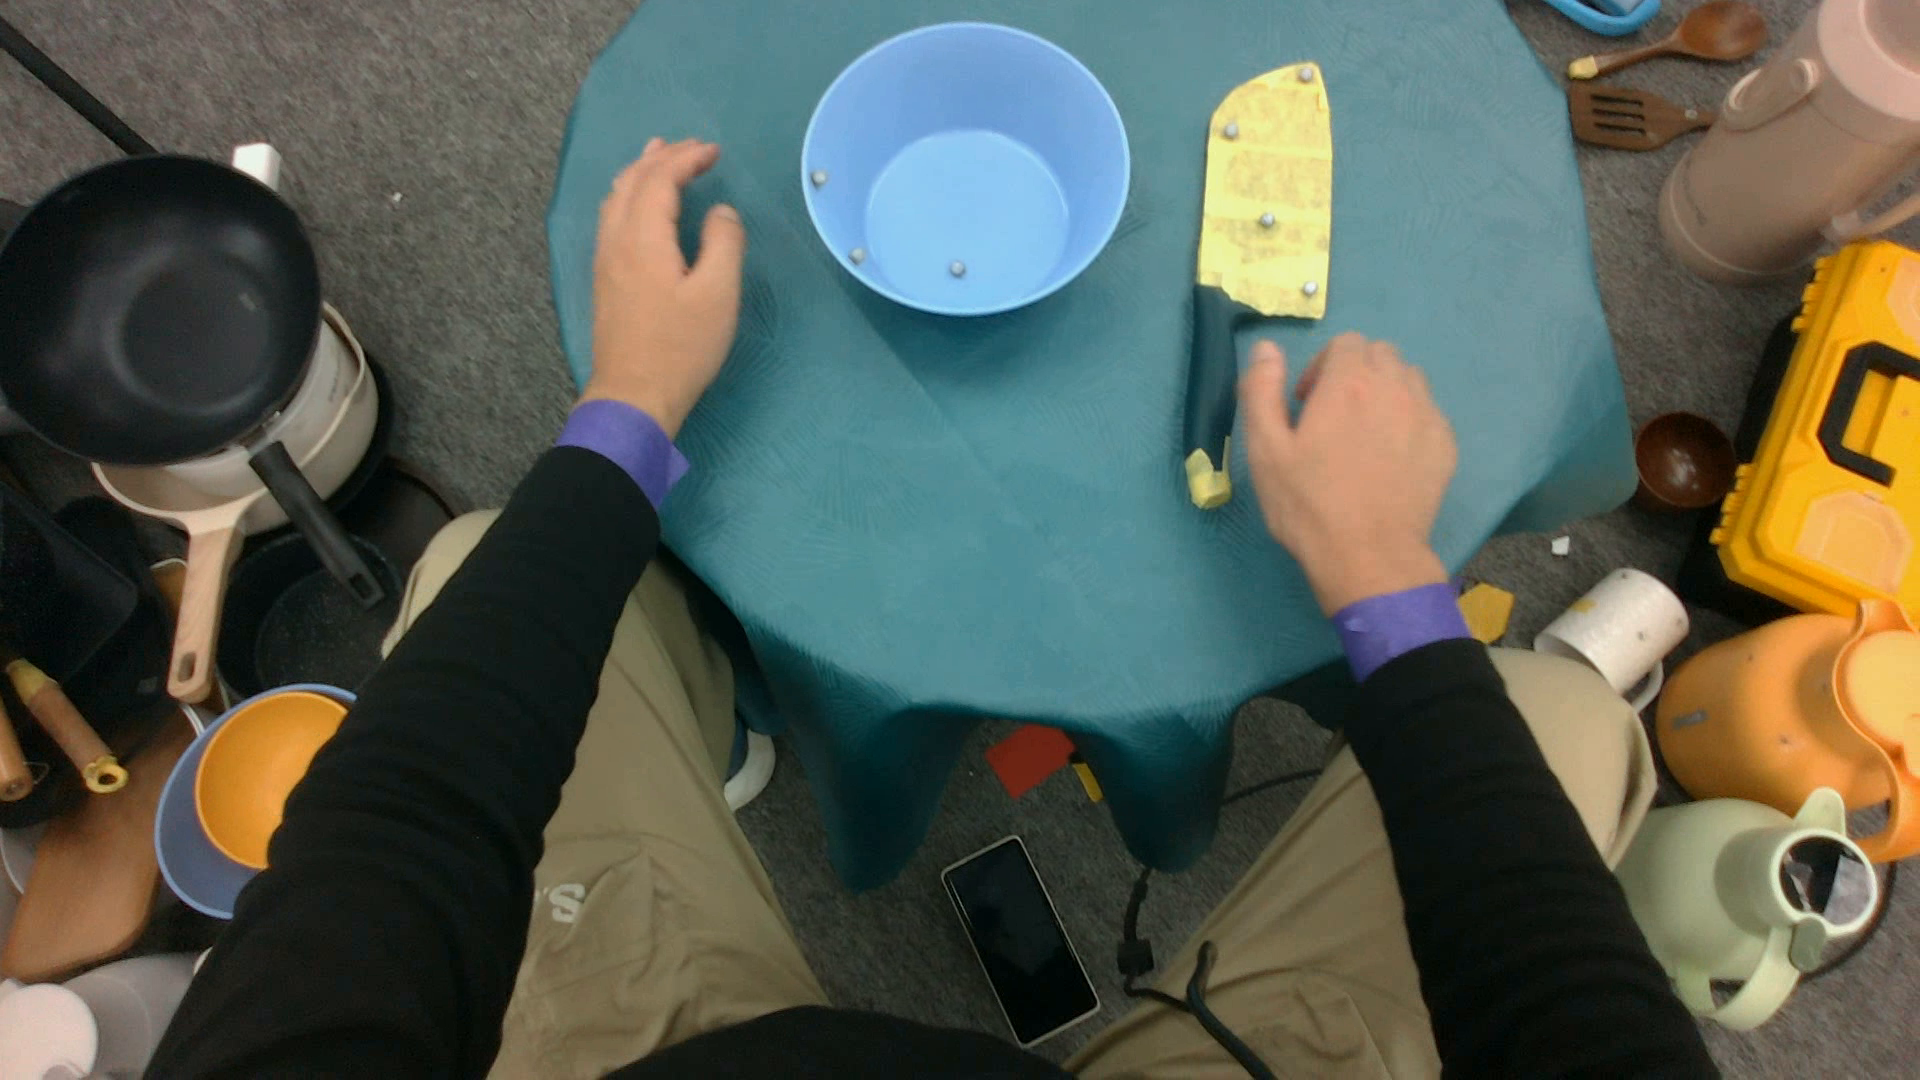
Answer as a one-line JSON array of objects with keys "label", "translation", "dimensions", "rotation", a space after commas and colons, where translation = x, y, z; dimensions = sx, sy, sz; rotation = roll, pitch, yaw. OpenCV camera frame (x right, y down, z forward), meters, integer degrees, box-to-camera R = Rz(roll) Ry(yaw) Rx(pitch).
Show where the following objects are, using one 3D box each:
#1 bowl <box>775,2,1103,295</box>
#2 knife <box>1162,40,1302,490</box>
[{"label": "bowl", "translation": [-0.011, -0.204, 0.765], "dimensions": [0.176, 0.070, 0.176], "rotation": [0, 74, -1]}, {"label": "knife", "translation": [0.154, -0.163, 0.783], "dimensions": [0.081, 0.027, 0.290], "rotation": [8, 73, 3]}]
